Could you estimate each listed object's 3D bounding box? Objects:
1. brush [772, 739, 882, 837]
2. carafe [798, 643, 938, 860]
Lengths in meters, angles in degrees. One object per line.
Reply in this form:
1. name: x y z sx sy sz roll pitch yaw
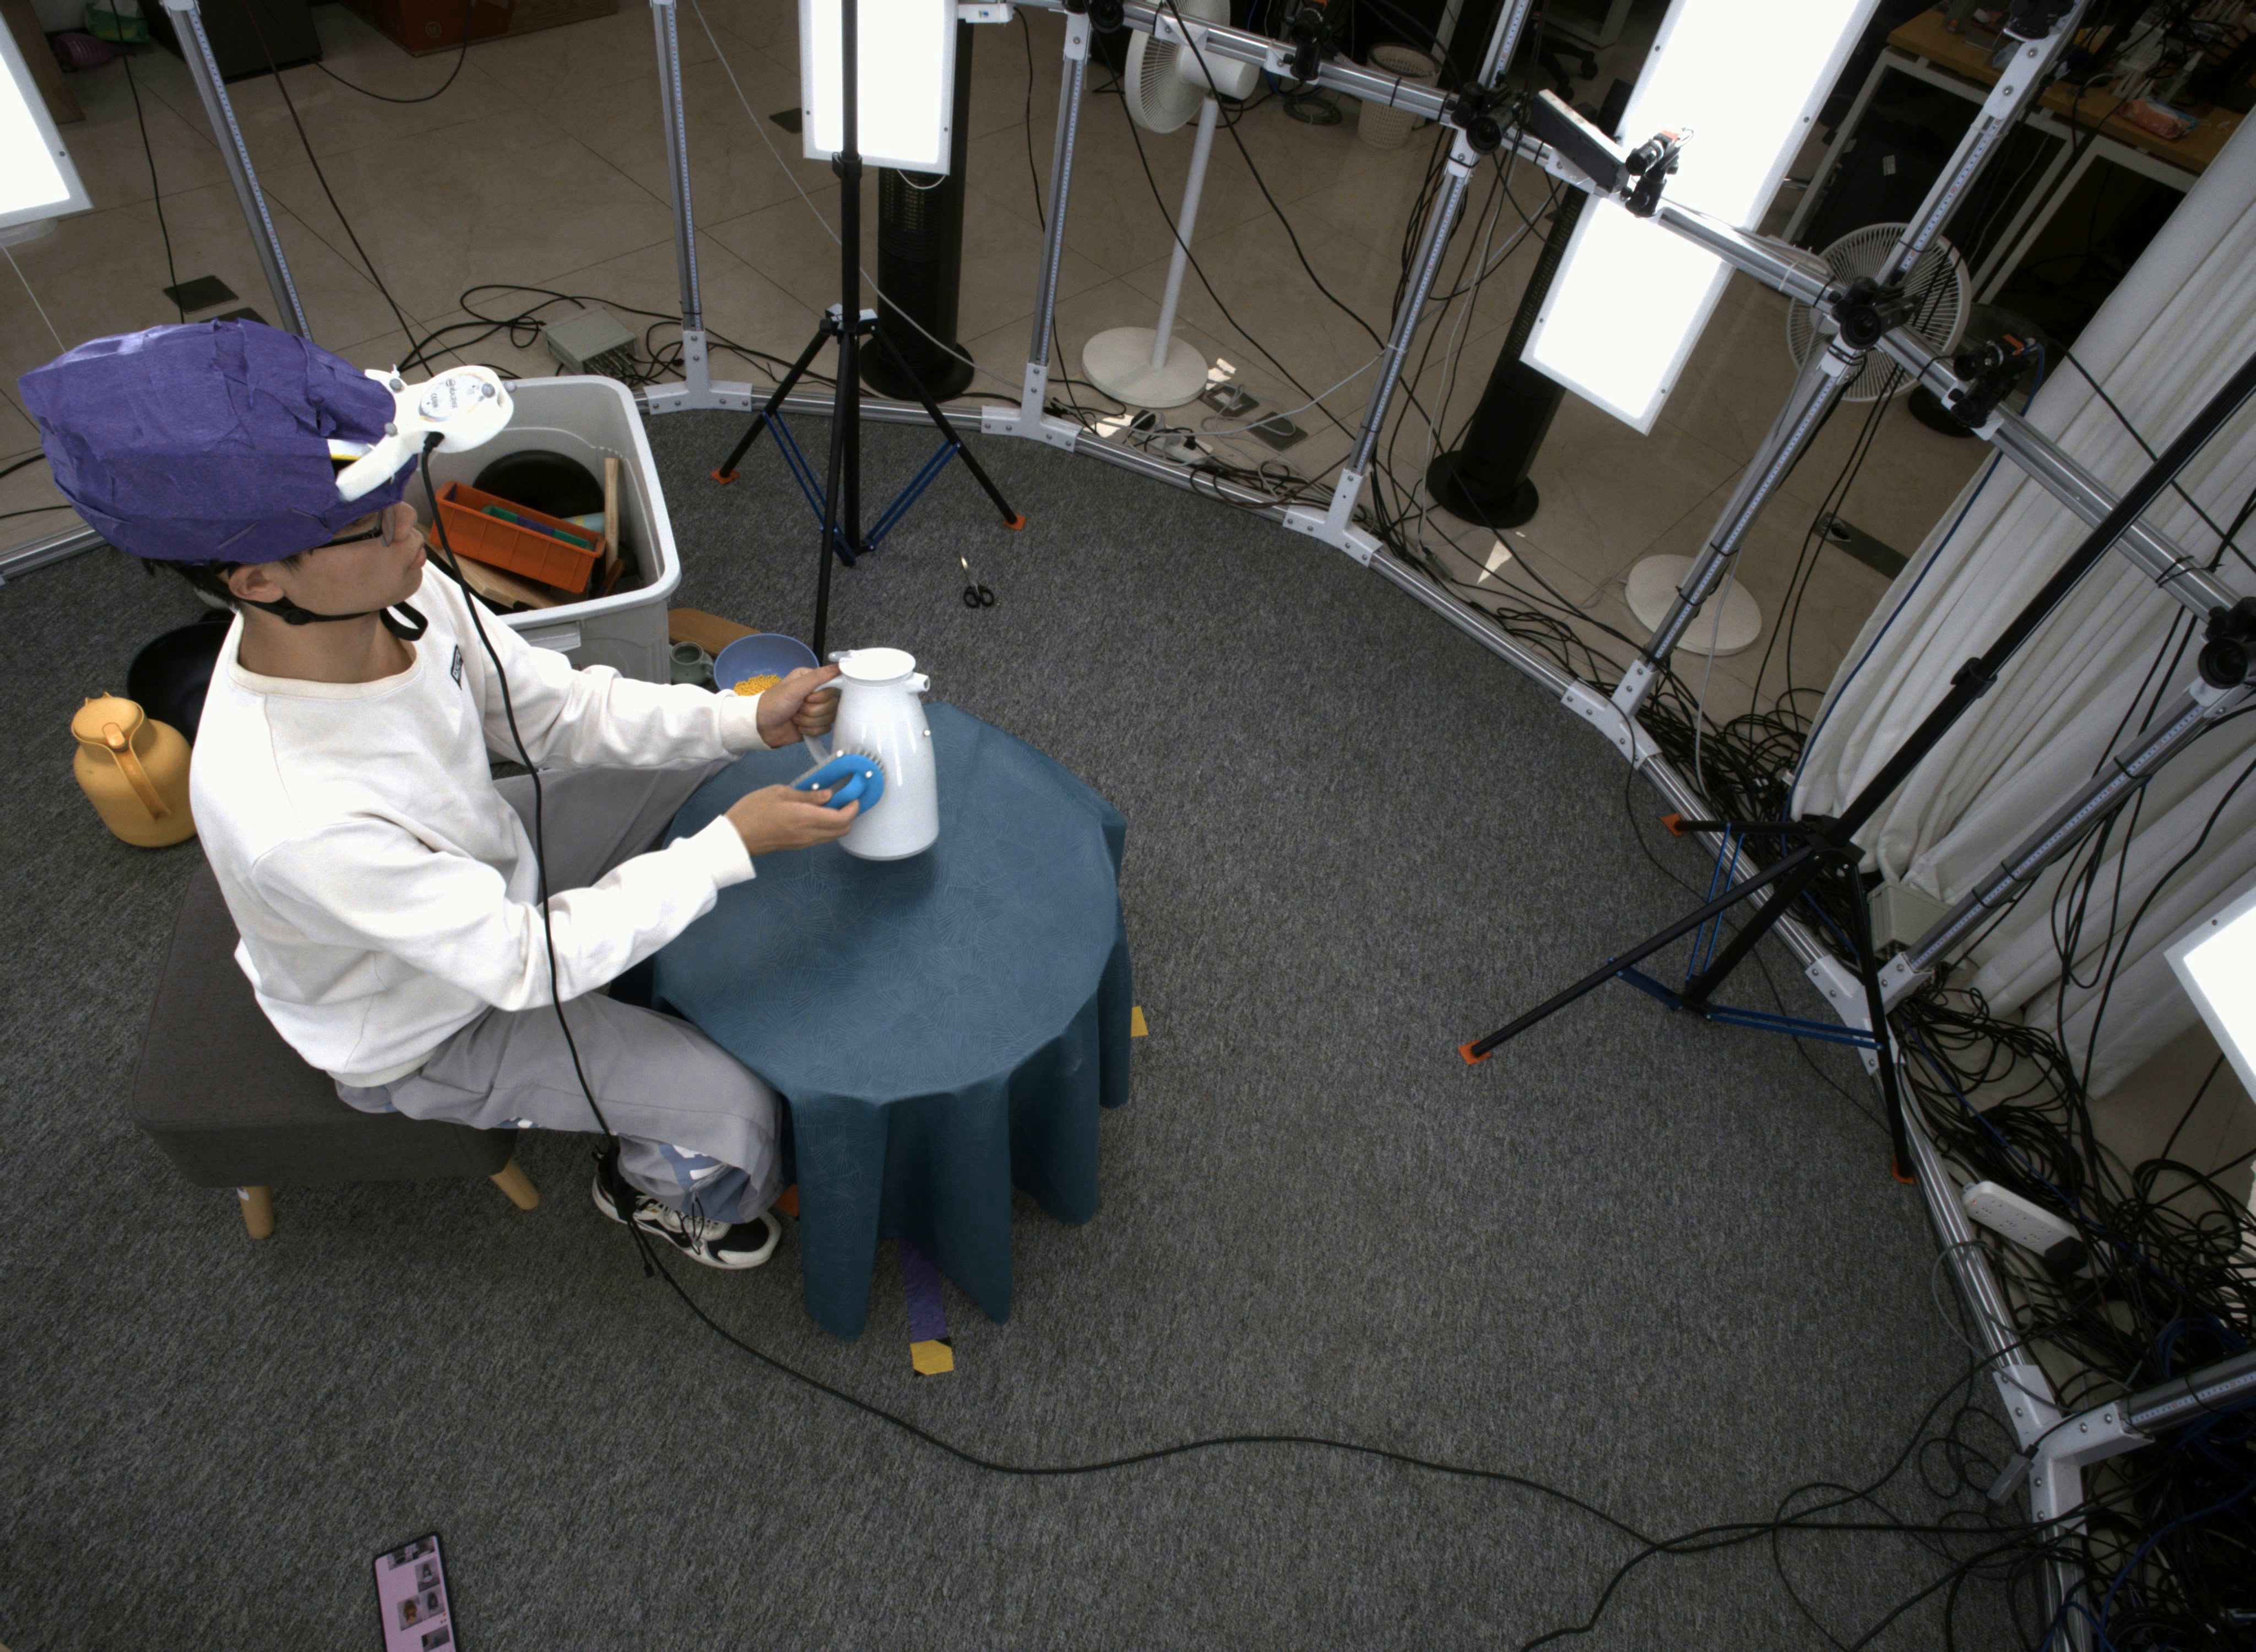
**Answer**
1. brush: -0.356 -0.038 1.539 0.140 0.087 0.062 -29 28 6
2. carafe: -0.329 -0.101 1.621 0.165 0.256 0.131 6 32 8
